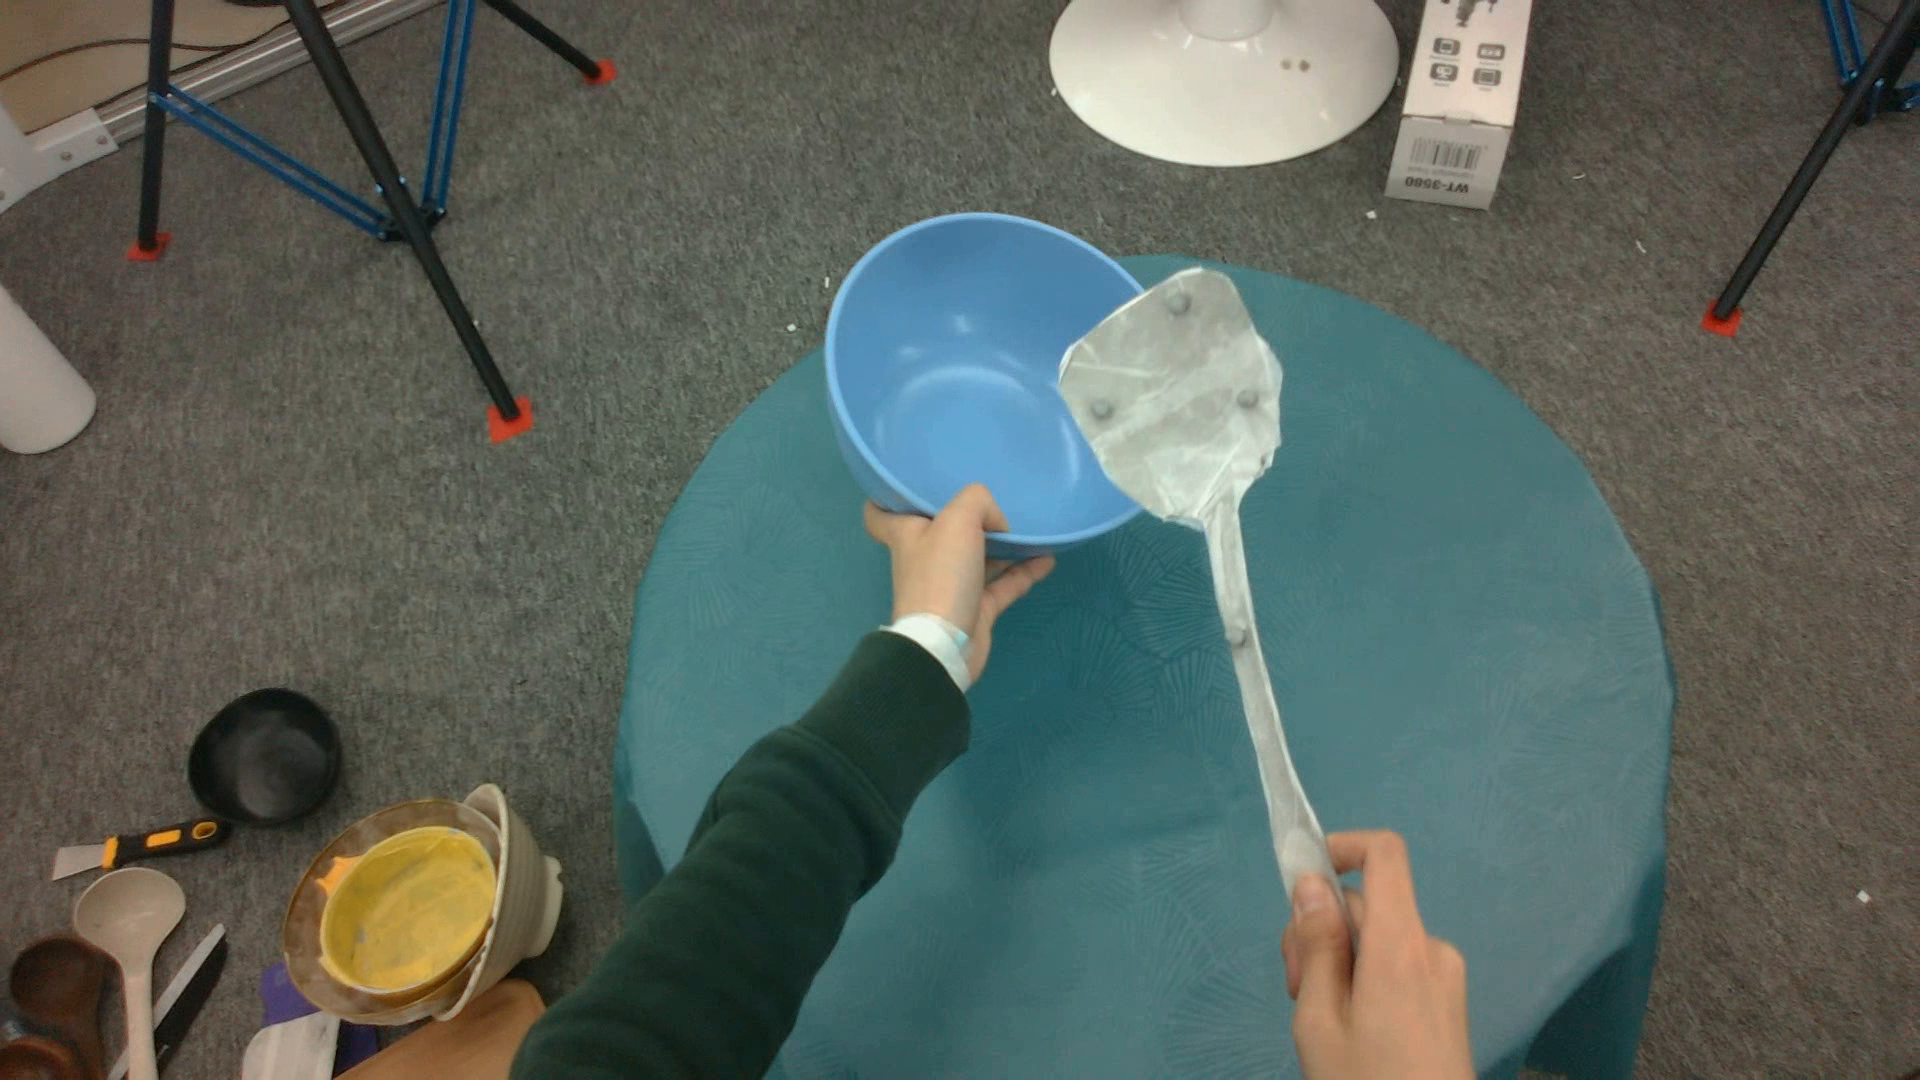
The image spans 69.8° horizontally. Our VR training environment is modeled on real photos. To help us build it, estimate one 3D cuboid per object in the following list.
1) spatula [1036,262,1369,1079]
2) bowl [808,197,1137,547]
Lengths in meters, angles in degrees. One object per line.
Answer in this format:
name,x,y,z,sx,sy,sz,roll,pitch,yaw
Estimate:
spatula,0.110,0.055,0.564,0.098,0.045,0.366,-26,62,33
bowl,0.006,-0.076,0.740,0.197,0.095,0.197,8,63,-16
